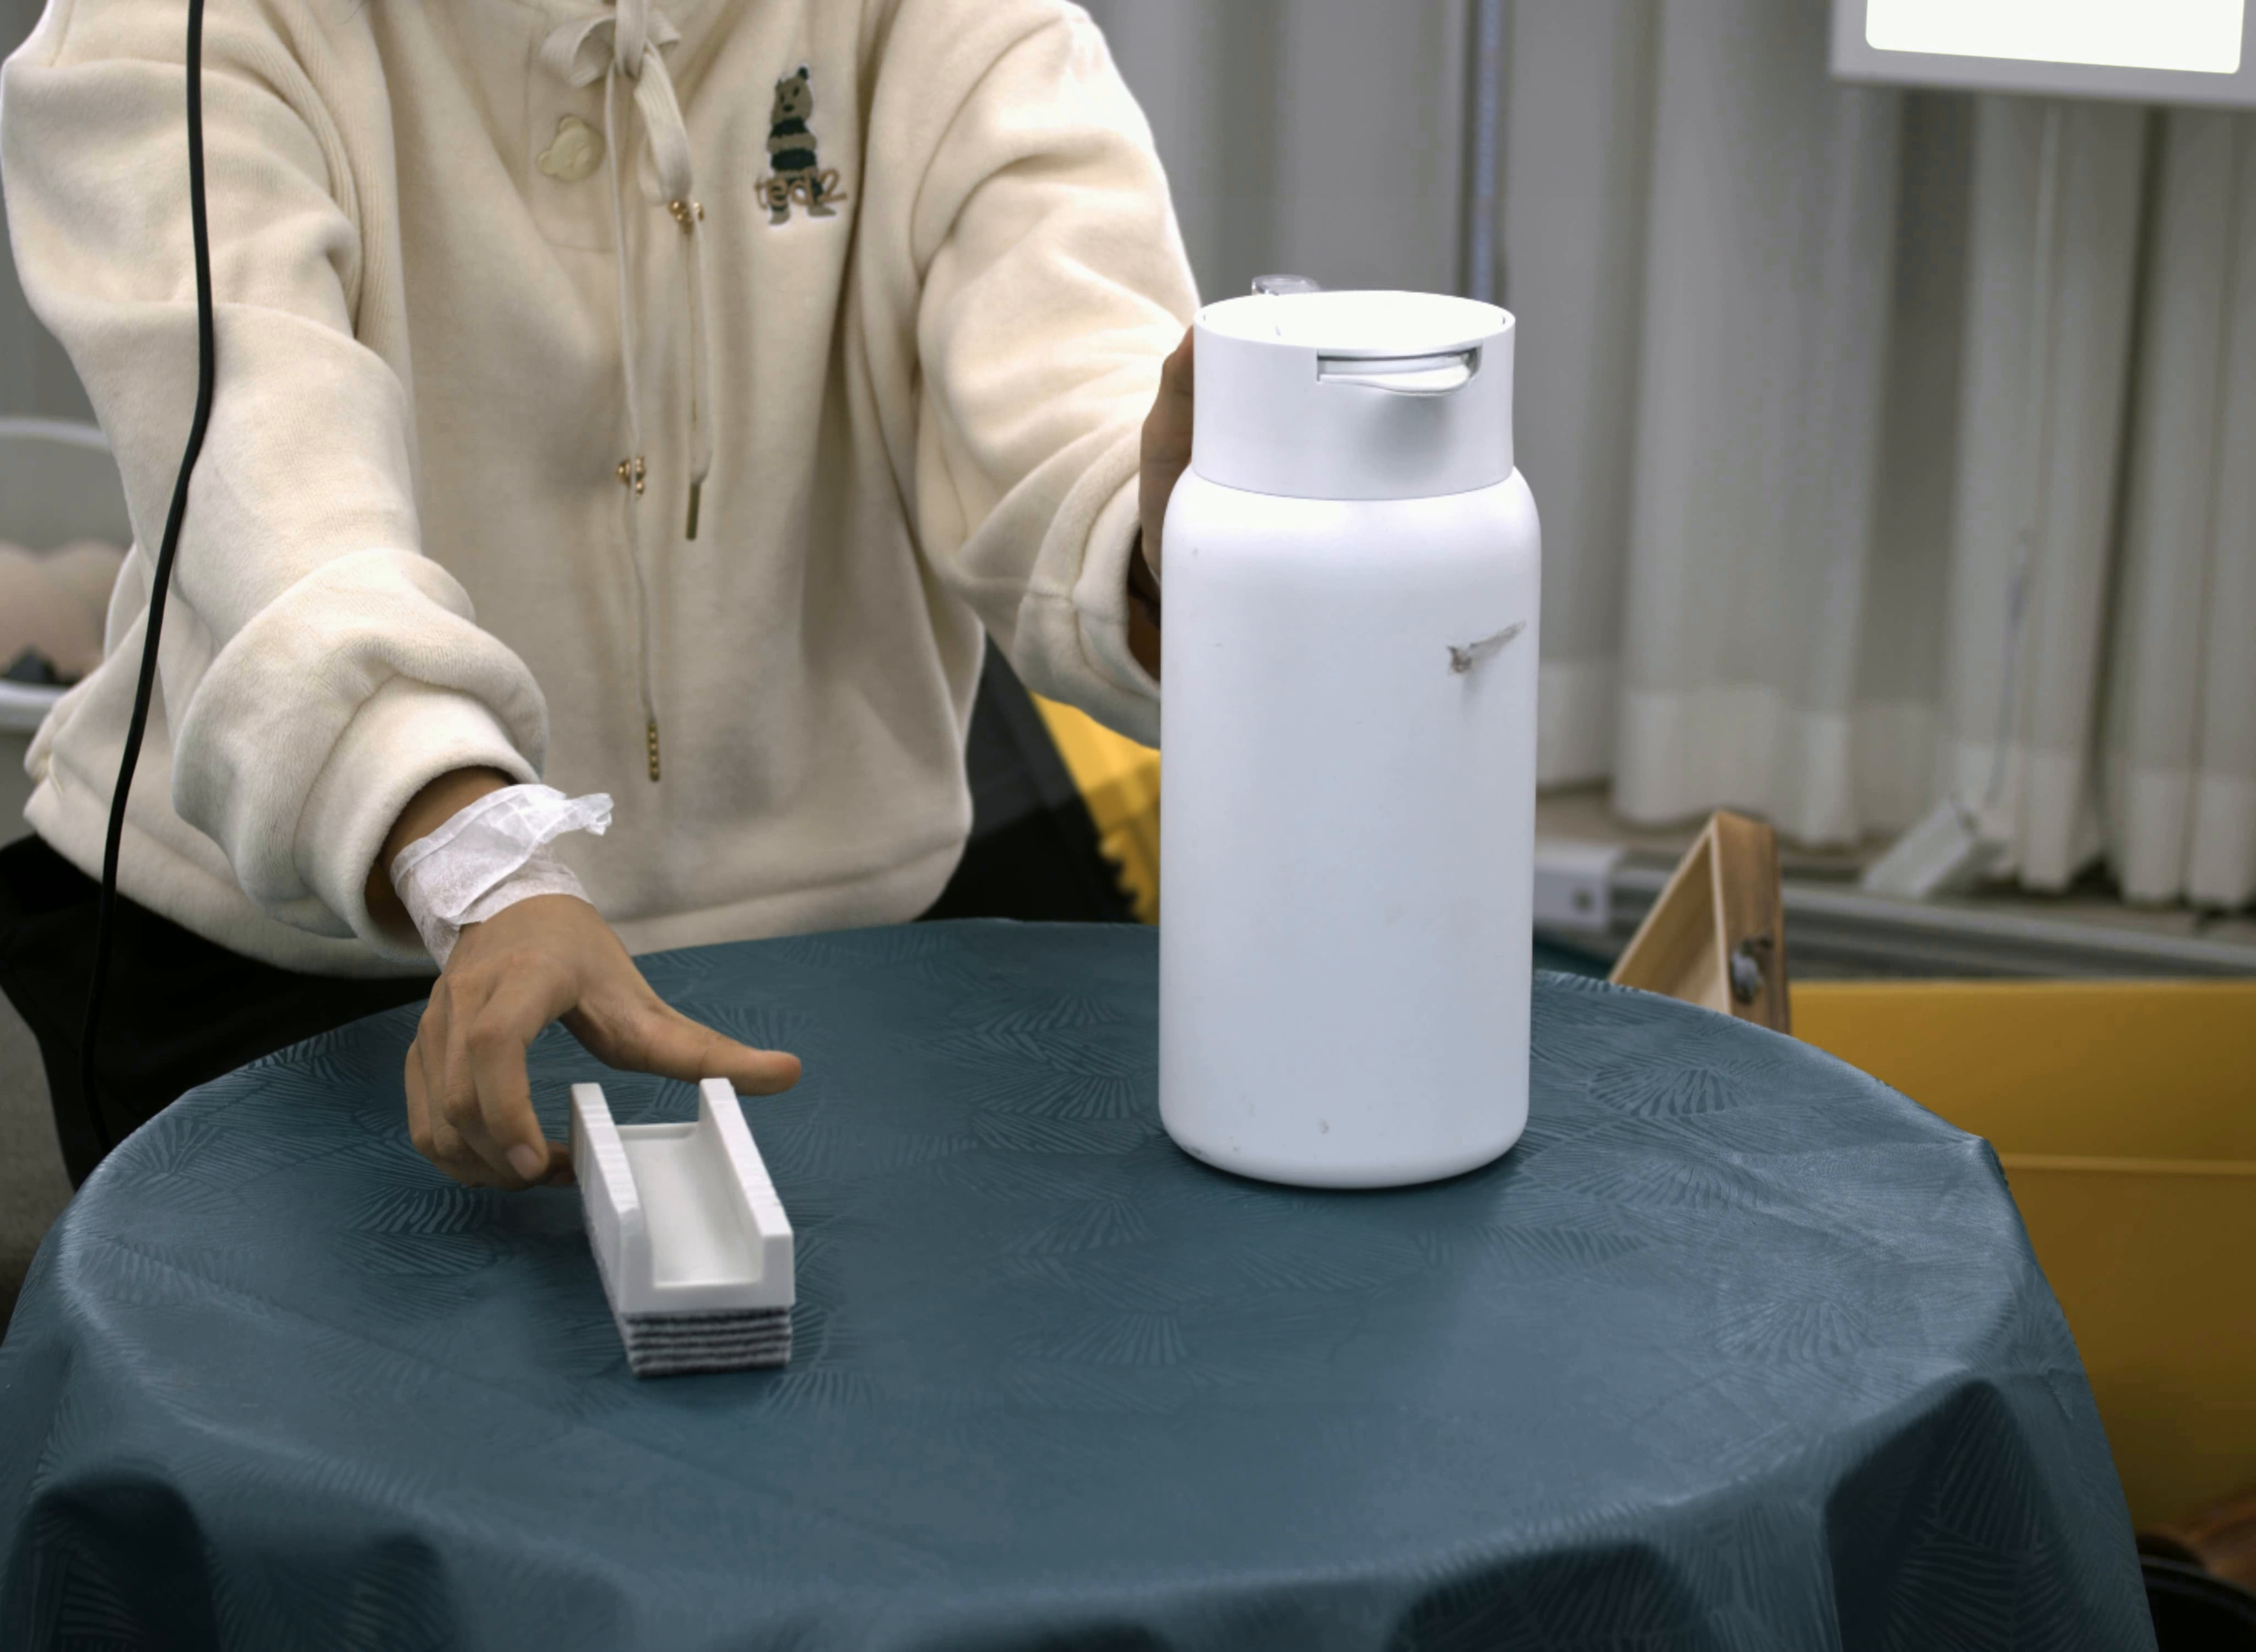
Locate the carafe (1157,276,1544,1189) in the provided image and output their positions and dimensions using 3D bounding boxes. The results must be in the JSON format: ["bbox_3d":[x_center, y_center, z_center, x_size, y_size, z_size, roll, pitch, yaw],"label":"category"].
[{"bbox_3d":[0.062,-0.033,1.648,0.124,0.271,0.171,-7,17,-17],"label":"carafe"}]

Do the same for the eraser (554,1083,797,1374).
[{"bbox_3d":[-0.132,0.114,1.521,0.050,0.047,0.133,-6,17,-13],"label":"eraser"}]
